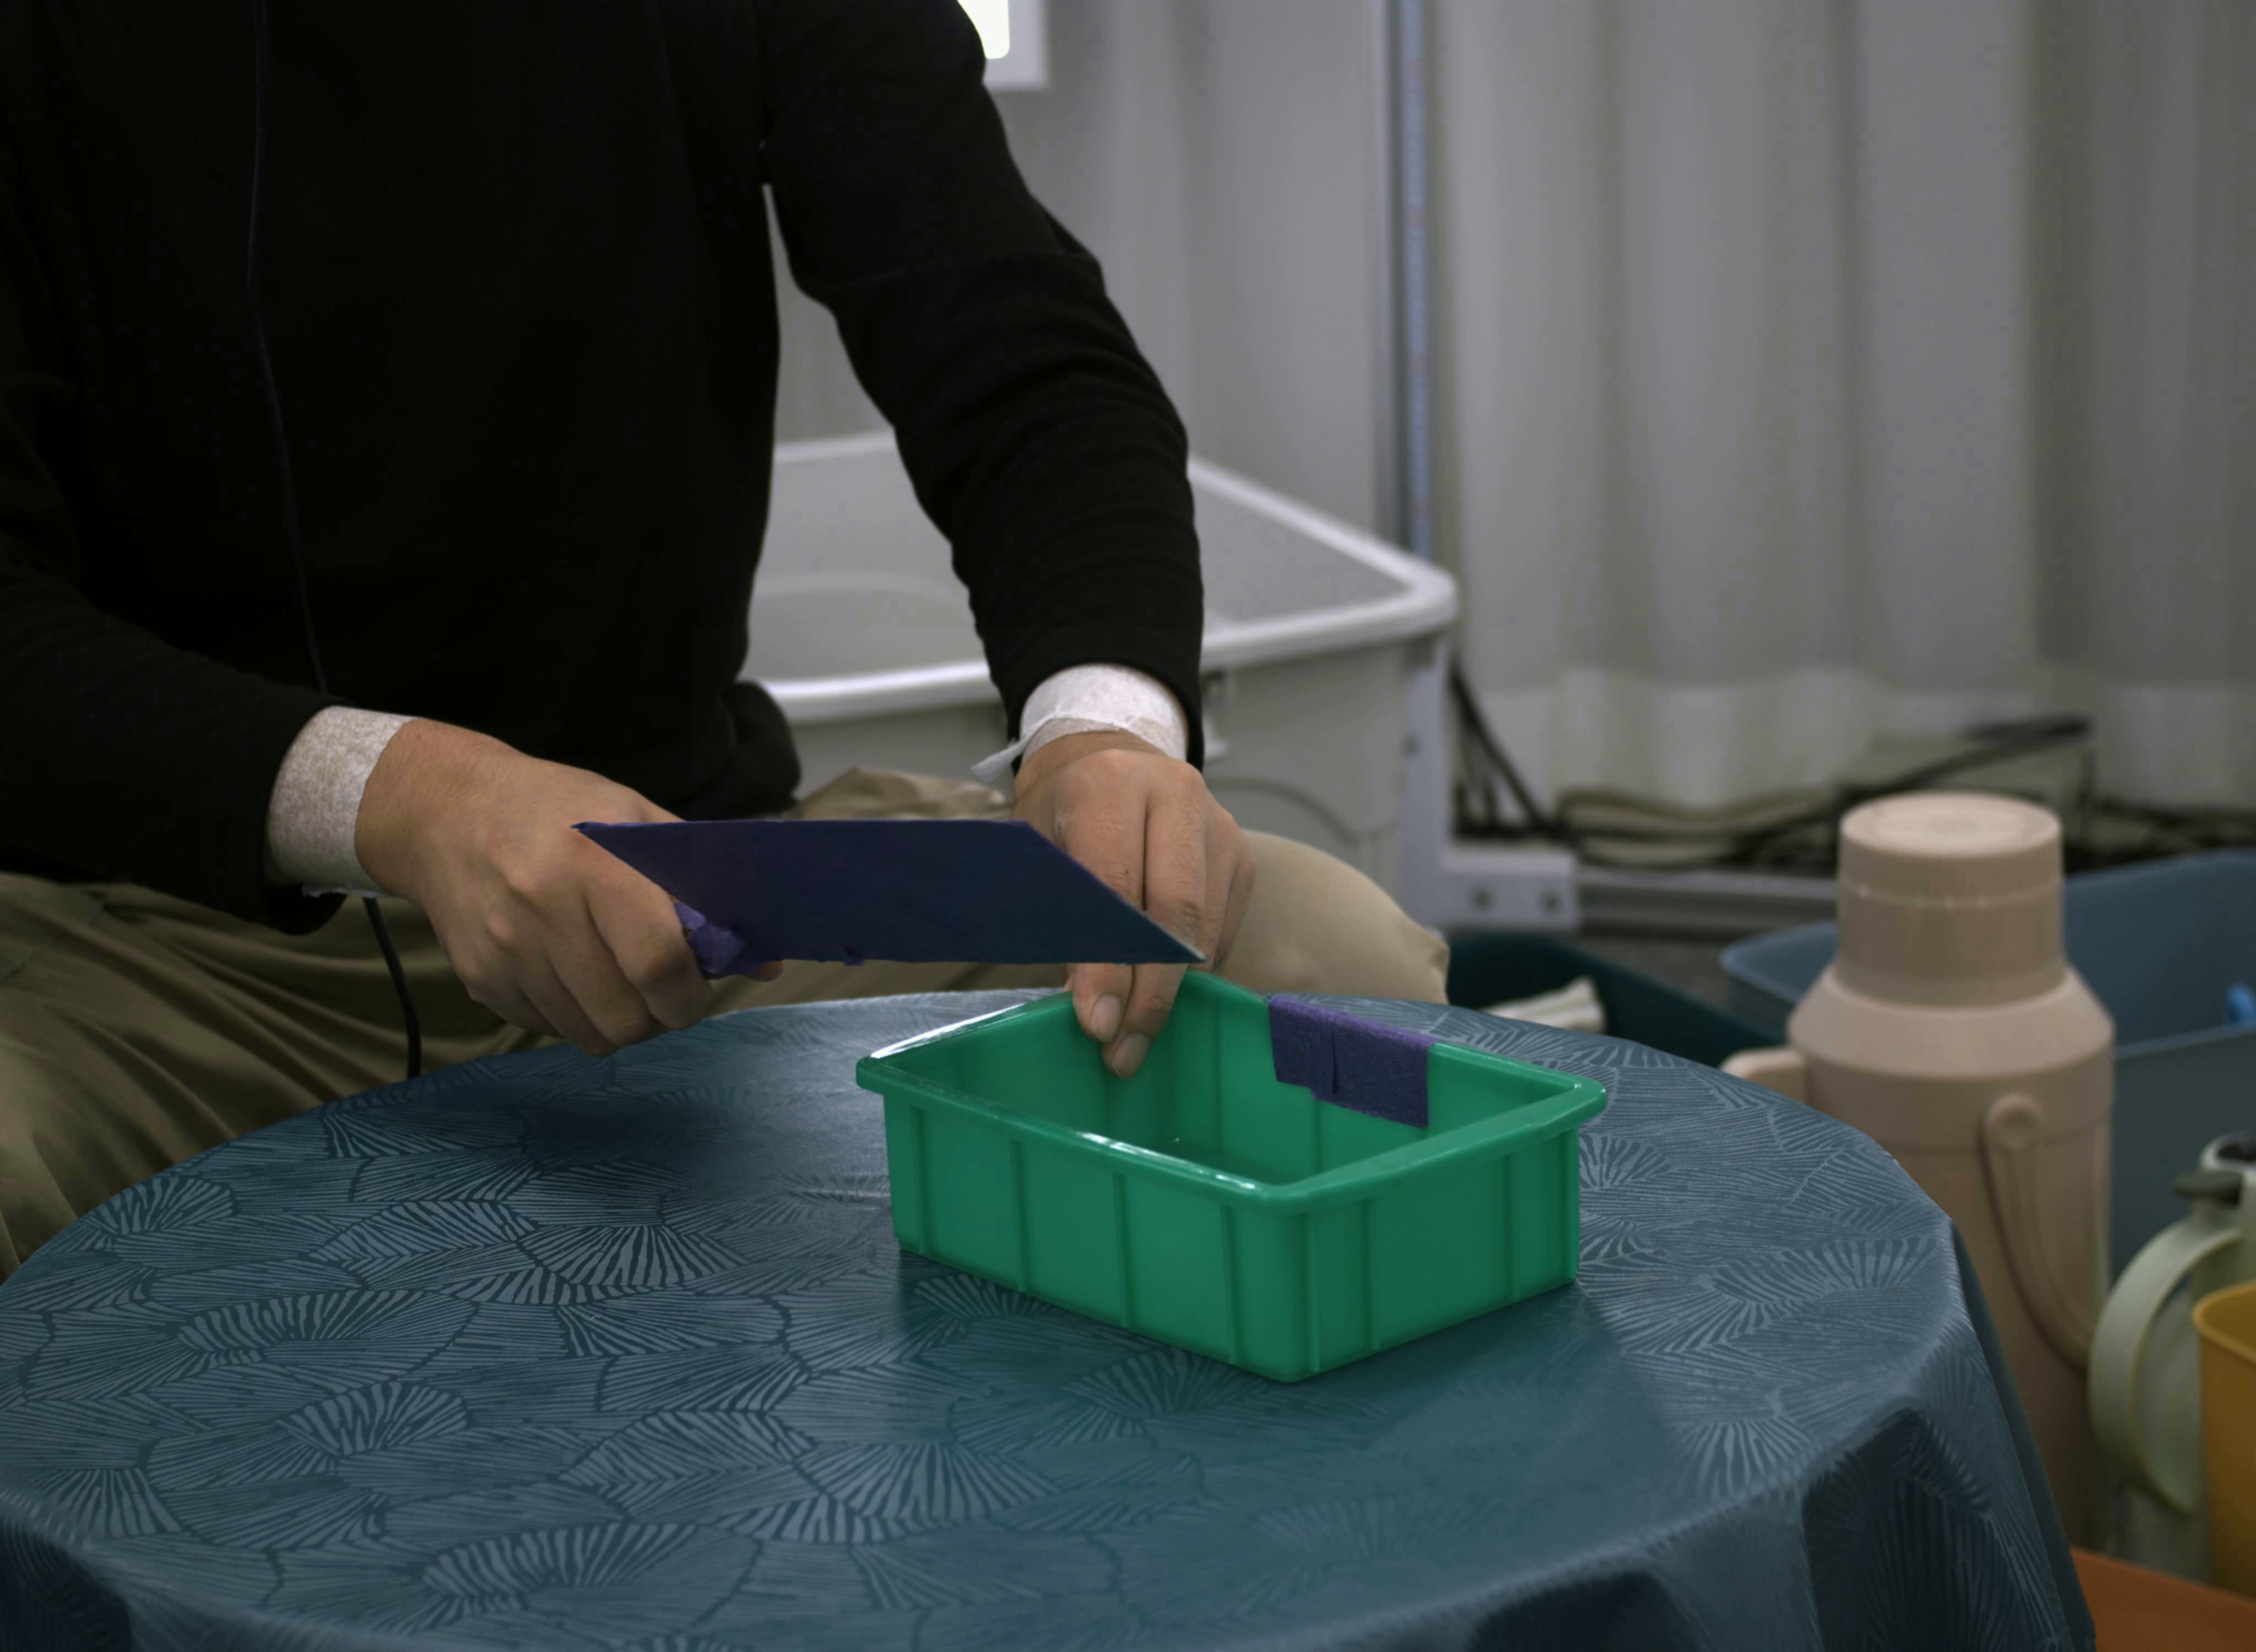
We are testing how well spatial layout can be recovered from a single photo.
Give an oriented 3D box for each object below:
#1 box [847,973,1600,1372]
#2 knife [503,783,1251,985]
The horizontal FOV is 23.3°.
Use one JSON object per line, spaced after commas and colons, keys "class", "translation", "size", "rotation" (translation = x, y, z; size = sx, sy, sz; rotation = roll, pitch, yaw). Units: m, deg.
{"class": "box", "translation": [0.028, 0.102, 1.636], "size": [0.138, 0.065, 0.211], "rotation": [-13, 16, -40]}
{"class": "knife", "translation": [-0.104, 0.017, 1.694], "size": [0.316, 0.032, 0.102], "rotation": [-3, -31, 44]}
